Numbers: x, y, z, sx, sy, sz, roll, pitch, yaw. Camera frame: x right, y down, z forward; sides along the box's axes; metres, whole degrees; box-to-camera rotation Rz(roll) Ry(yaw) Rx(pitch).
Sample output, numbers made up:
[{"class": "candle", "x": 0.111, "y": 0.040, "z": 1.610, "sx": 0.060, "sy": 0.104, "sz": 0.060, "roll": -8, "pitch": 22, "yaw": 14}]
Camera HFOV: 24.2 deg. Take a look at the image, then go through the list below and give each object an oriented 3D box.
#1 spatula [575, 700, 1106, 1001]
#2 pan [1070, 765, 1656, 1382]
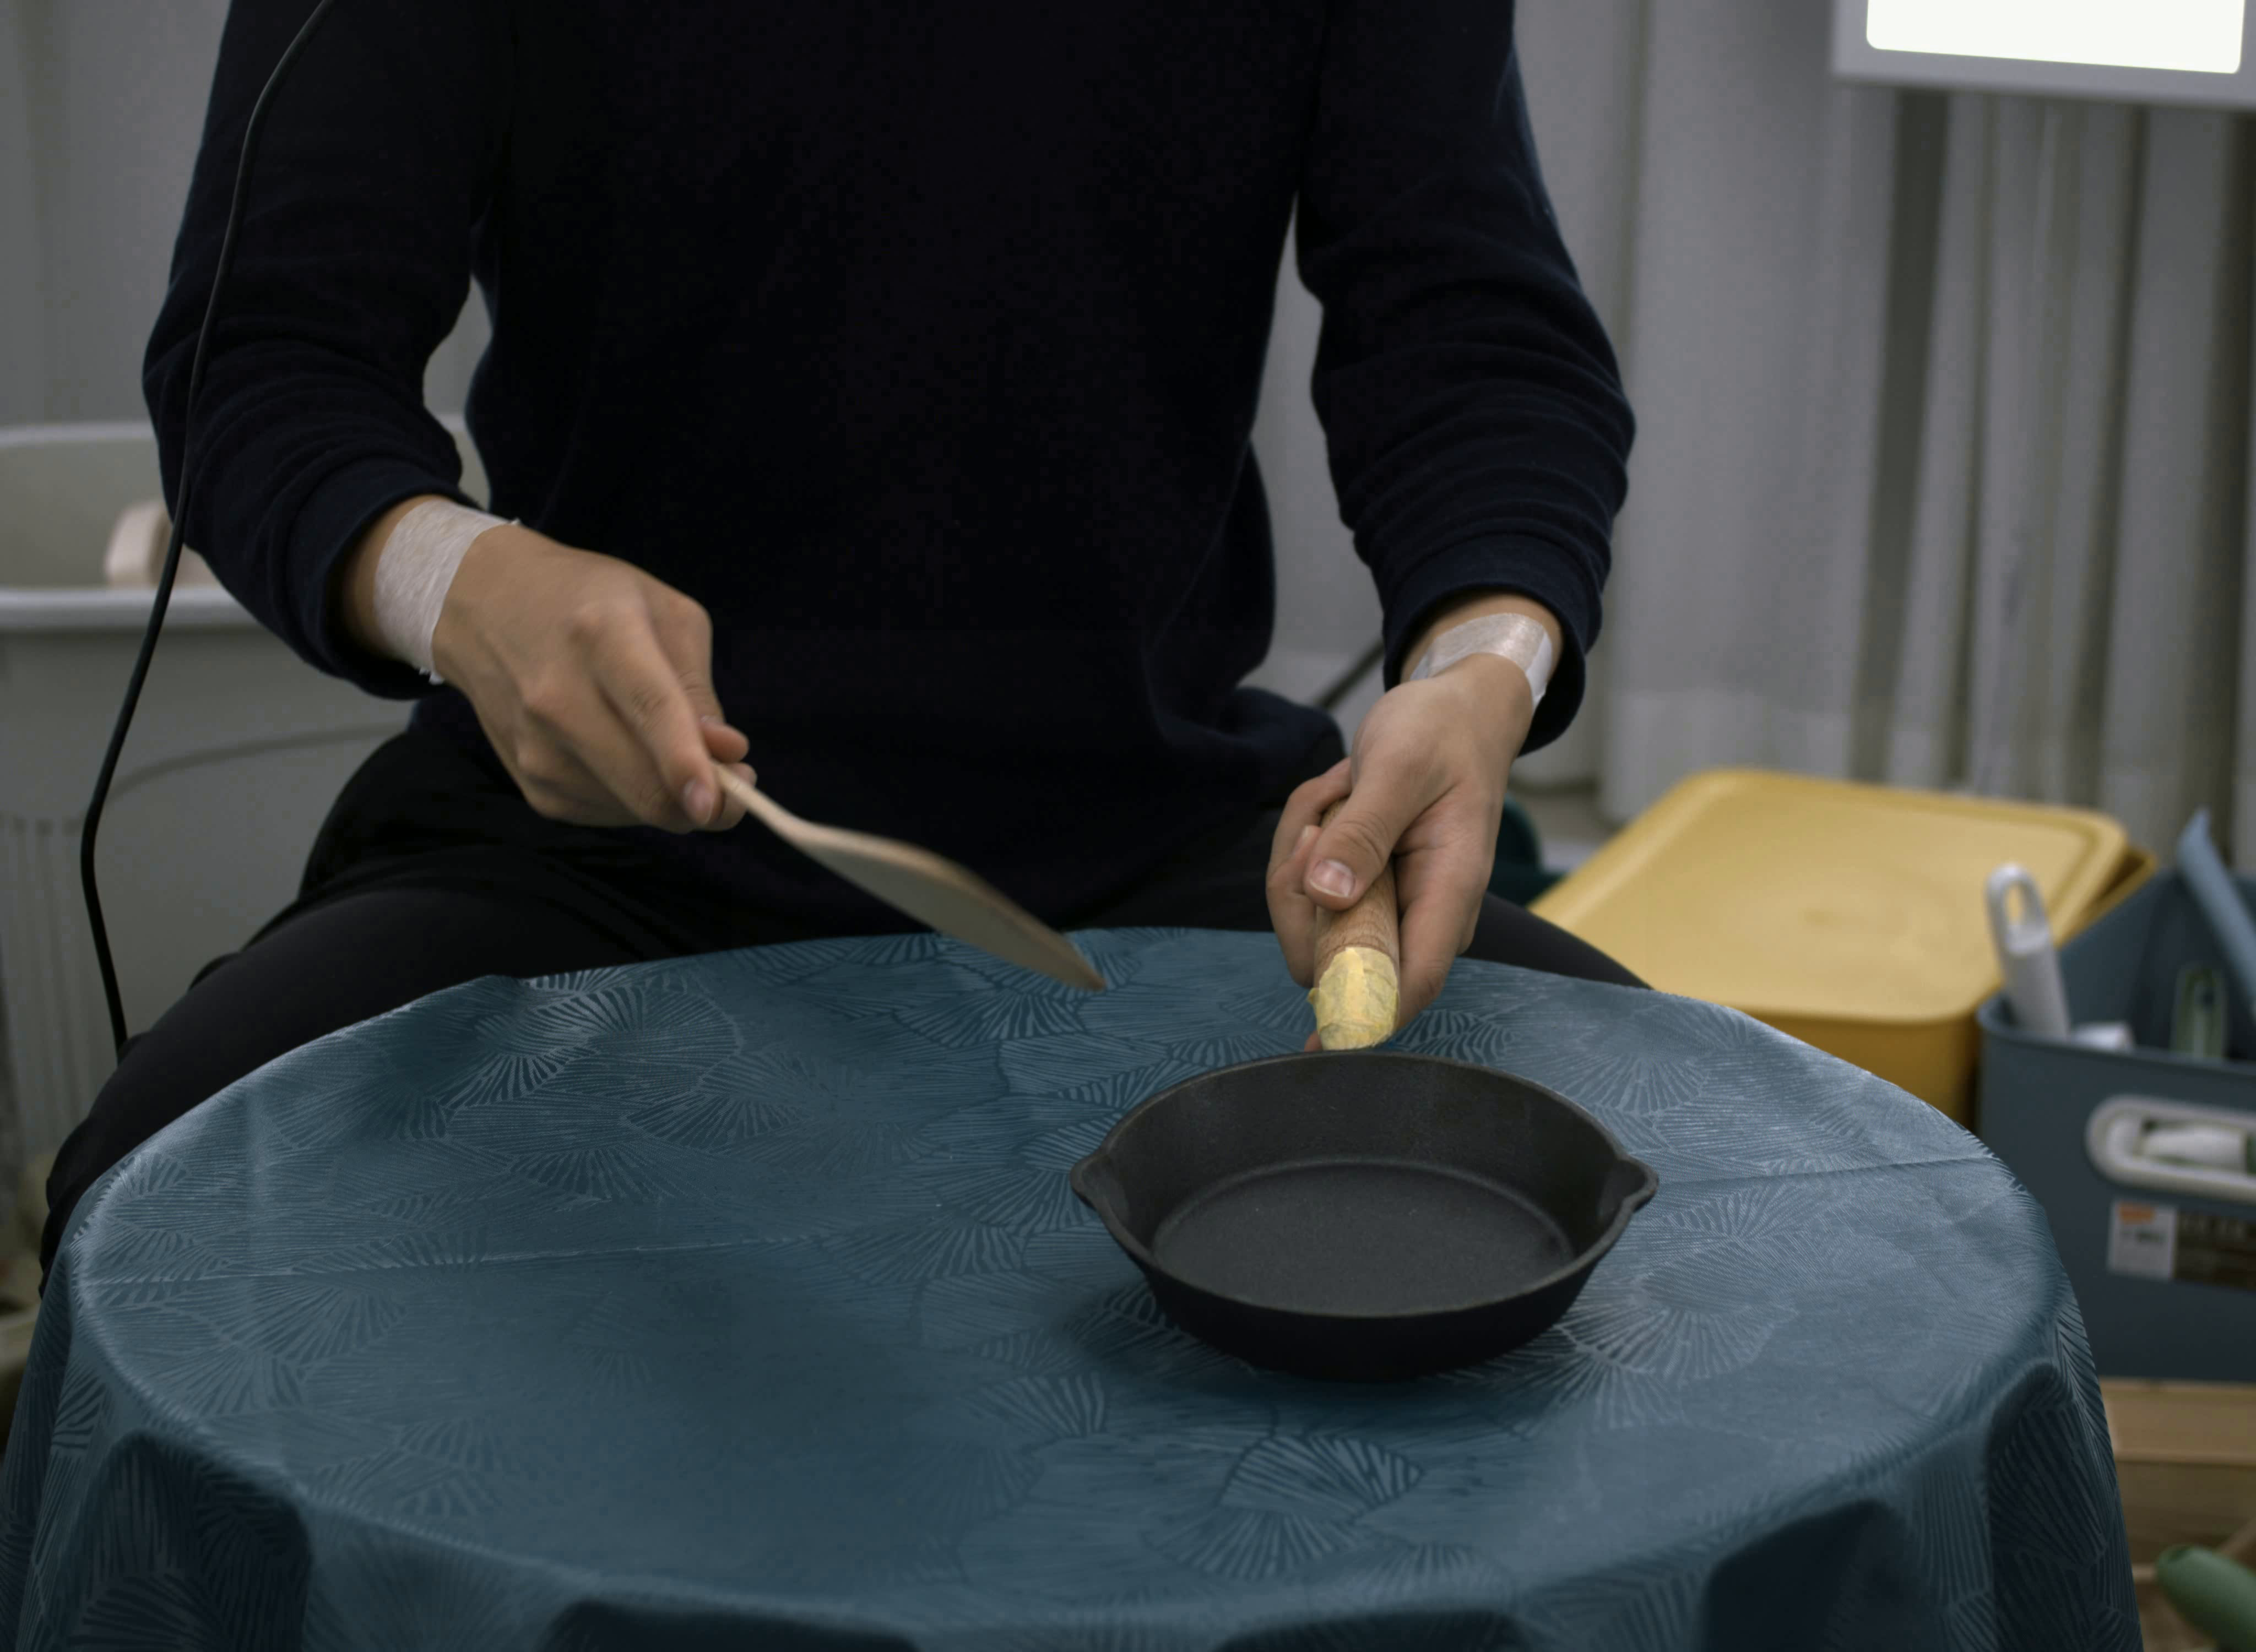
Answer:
[{"class": "spatula", "x": -0.098, "y": -0.001, "z": 1.540, "sx": 0.081, "sy": 0.016, "sz": 0.324, "roll": 33, "pitch": -2, "yaw": -29}, {"class": "pan", "x": 0.072, "y": 0.071, "z": 1.592, "sx": 0.168, "sy": 0.050, "sz": 0.322, "roll": 2, "pitch": 27, "yaw": 3}]
